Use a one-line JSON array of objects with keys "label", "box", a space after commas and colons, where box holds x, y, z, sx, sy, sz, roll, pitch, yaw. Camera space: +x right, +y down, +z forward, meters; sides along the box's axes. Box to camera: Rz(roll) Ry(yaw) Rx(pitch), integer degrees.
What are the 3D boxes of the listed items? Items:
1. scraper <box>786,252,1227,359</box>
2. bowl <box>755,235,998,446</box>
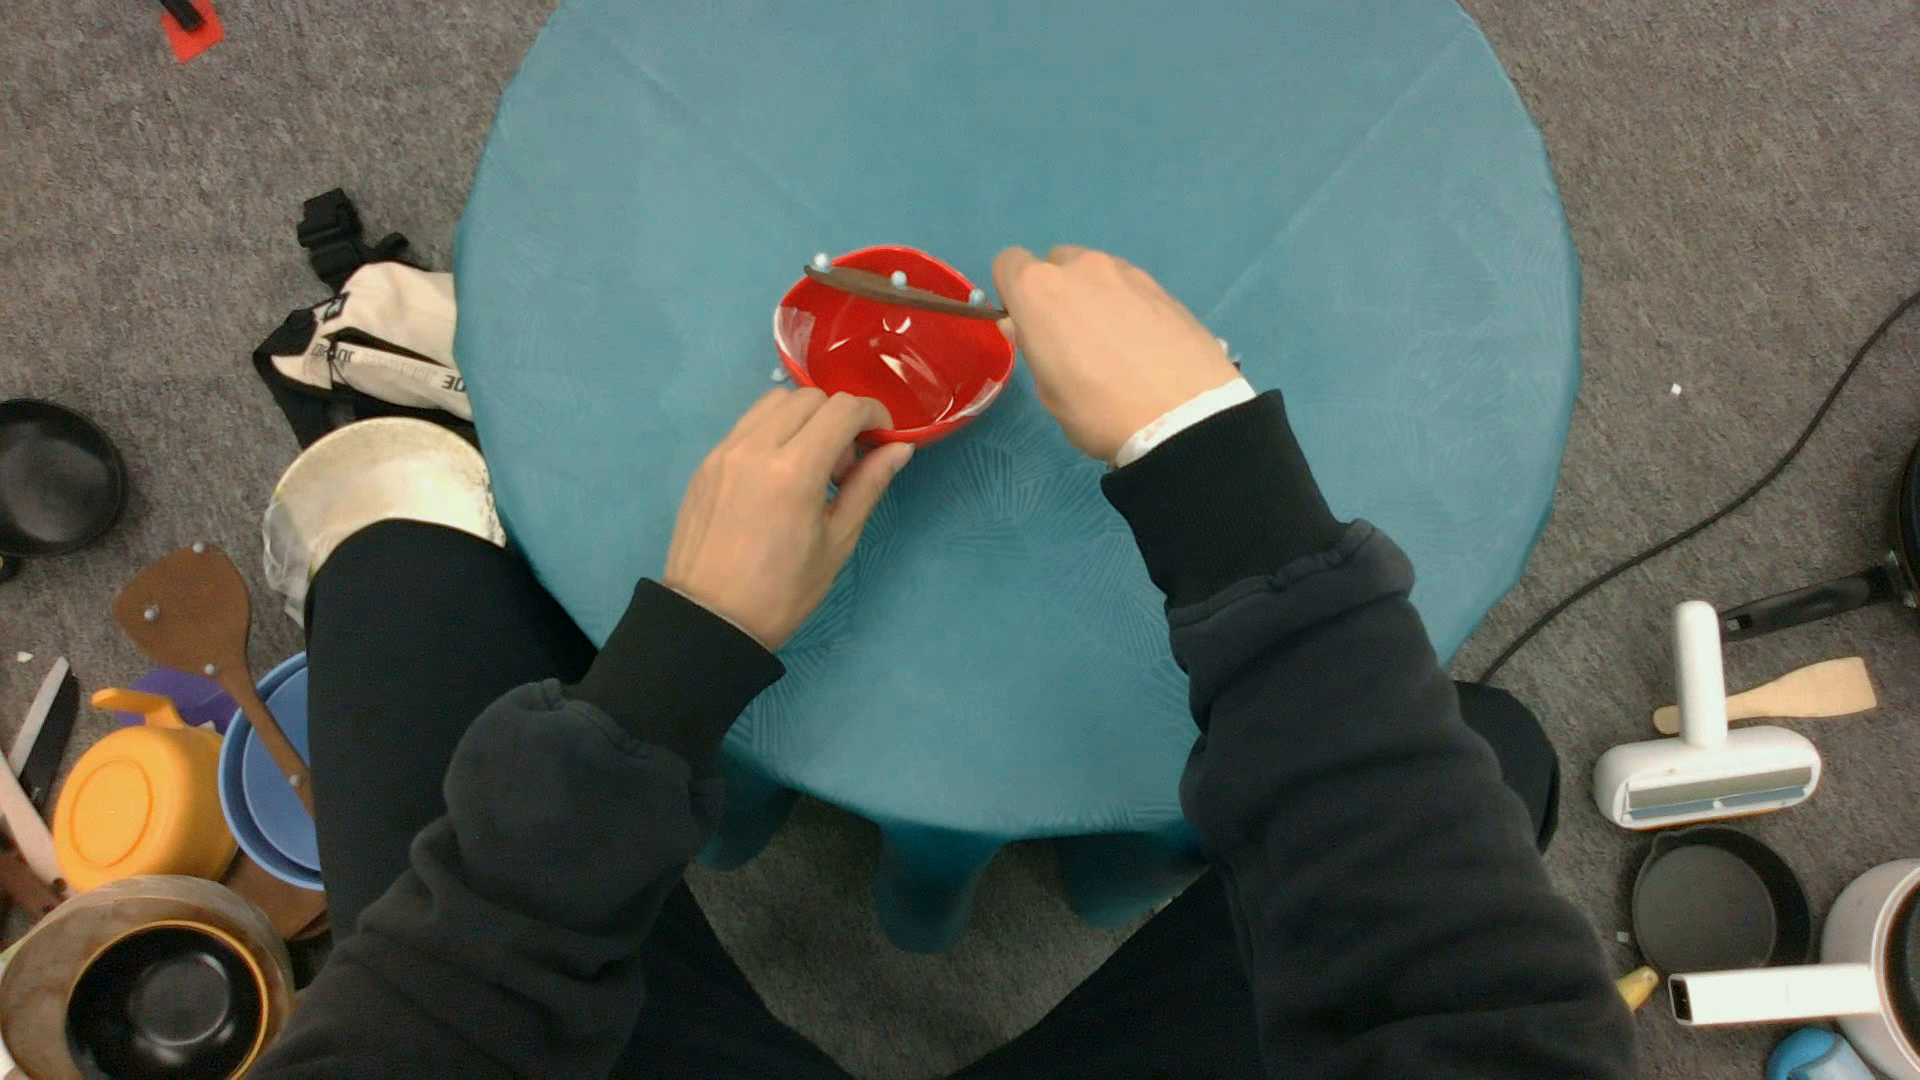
[{"label": "scraper", "box": [0.020, -0.107, 0.632, 0.211, 0.076, 0.011, 17, 106, 23]}, {"label": "bowl", "box": [-0.044, -0.091, 0.685, 0.119, 0.051, 0.119, 7, 56, -11]}]
